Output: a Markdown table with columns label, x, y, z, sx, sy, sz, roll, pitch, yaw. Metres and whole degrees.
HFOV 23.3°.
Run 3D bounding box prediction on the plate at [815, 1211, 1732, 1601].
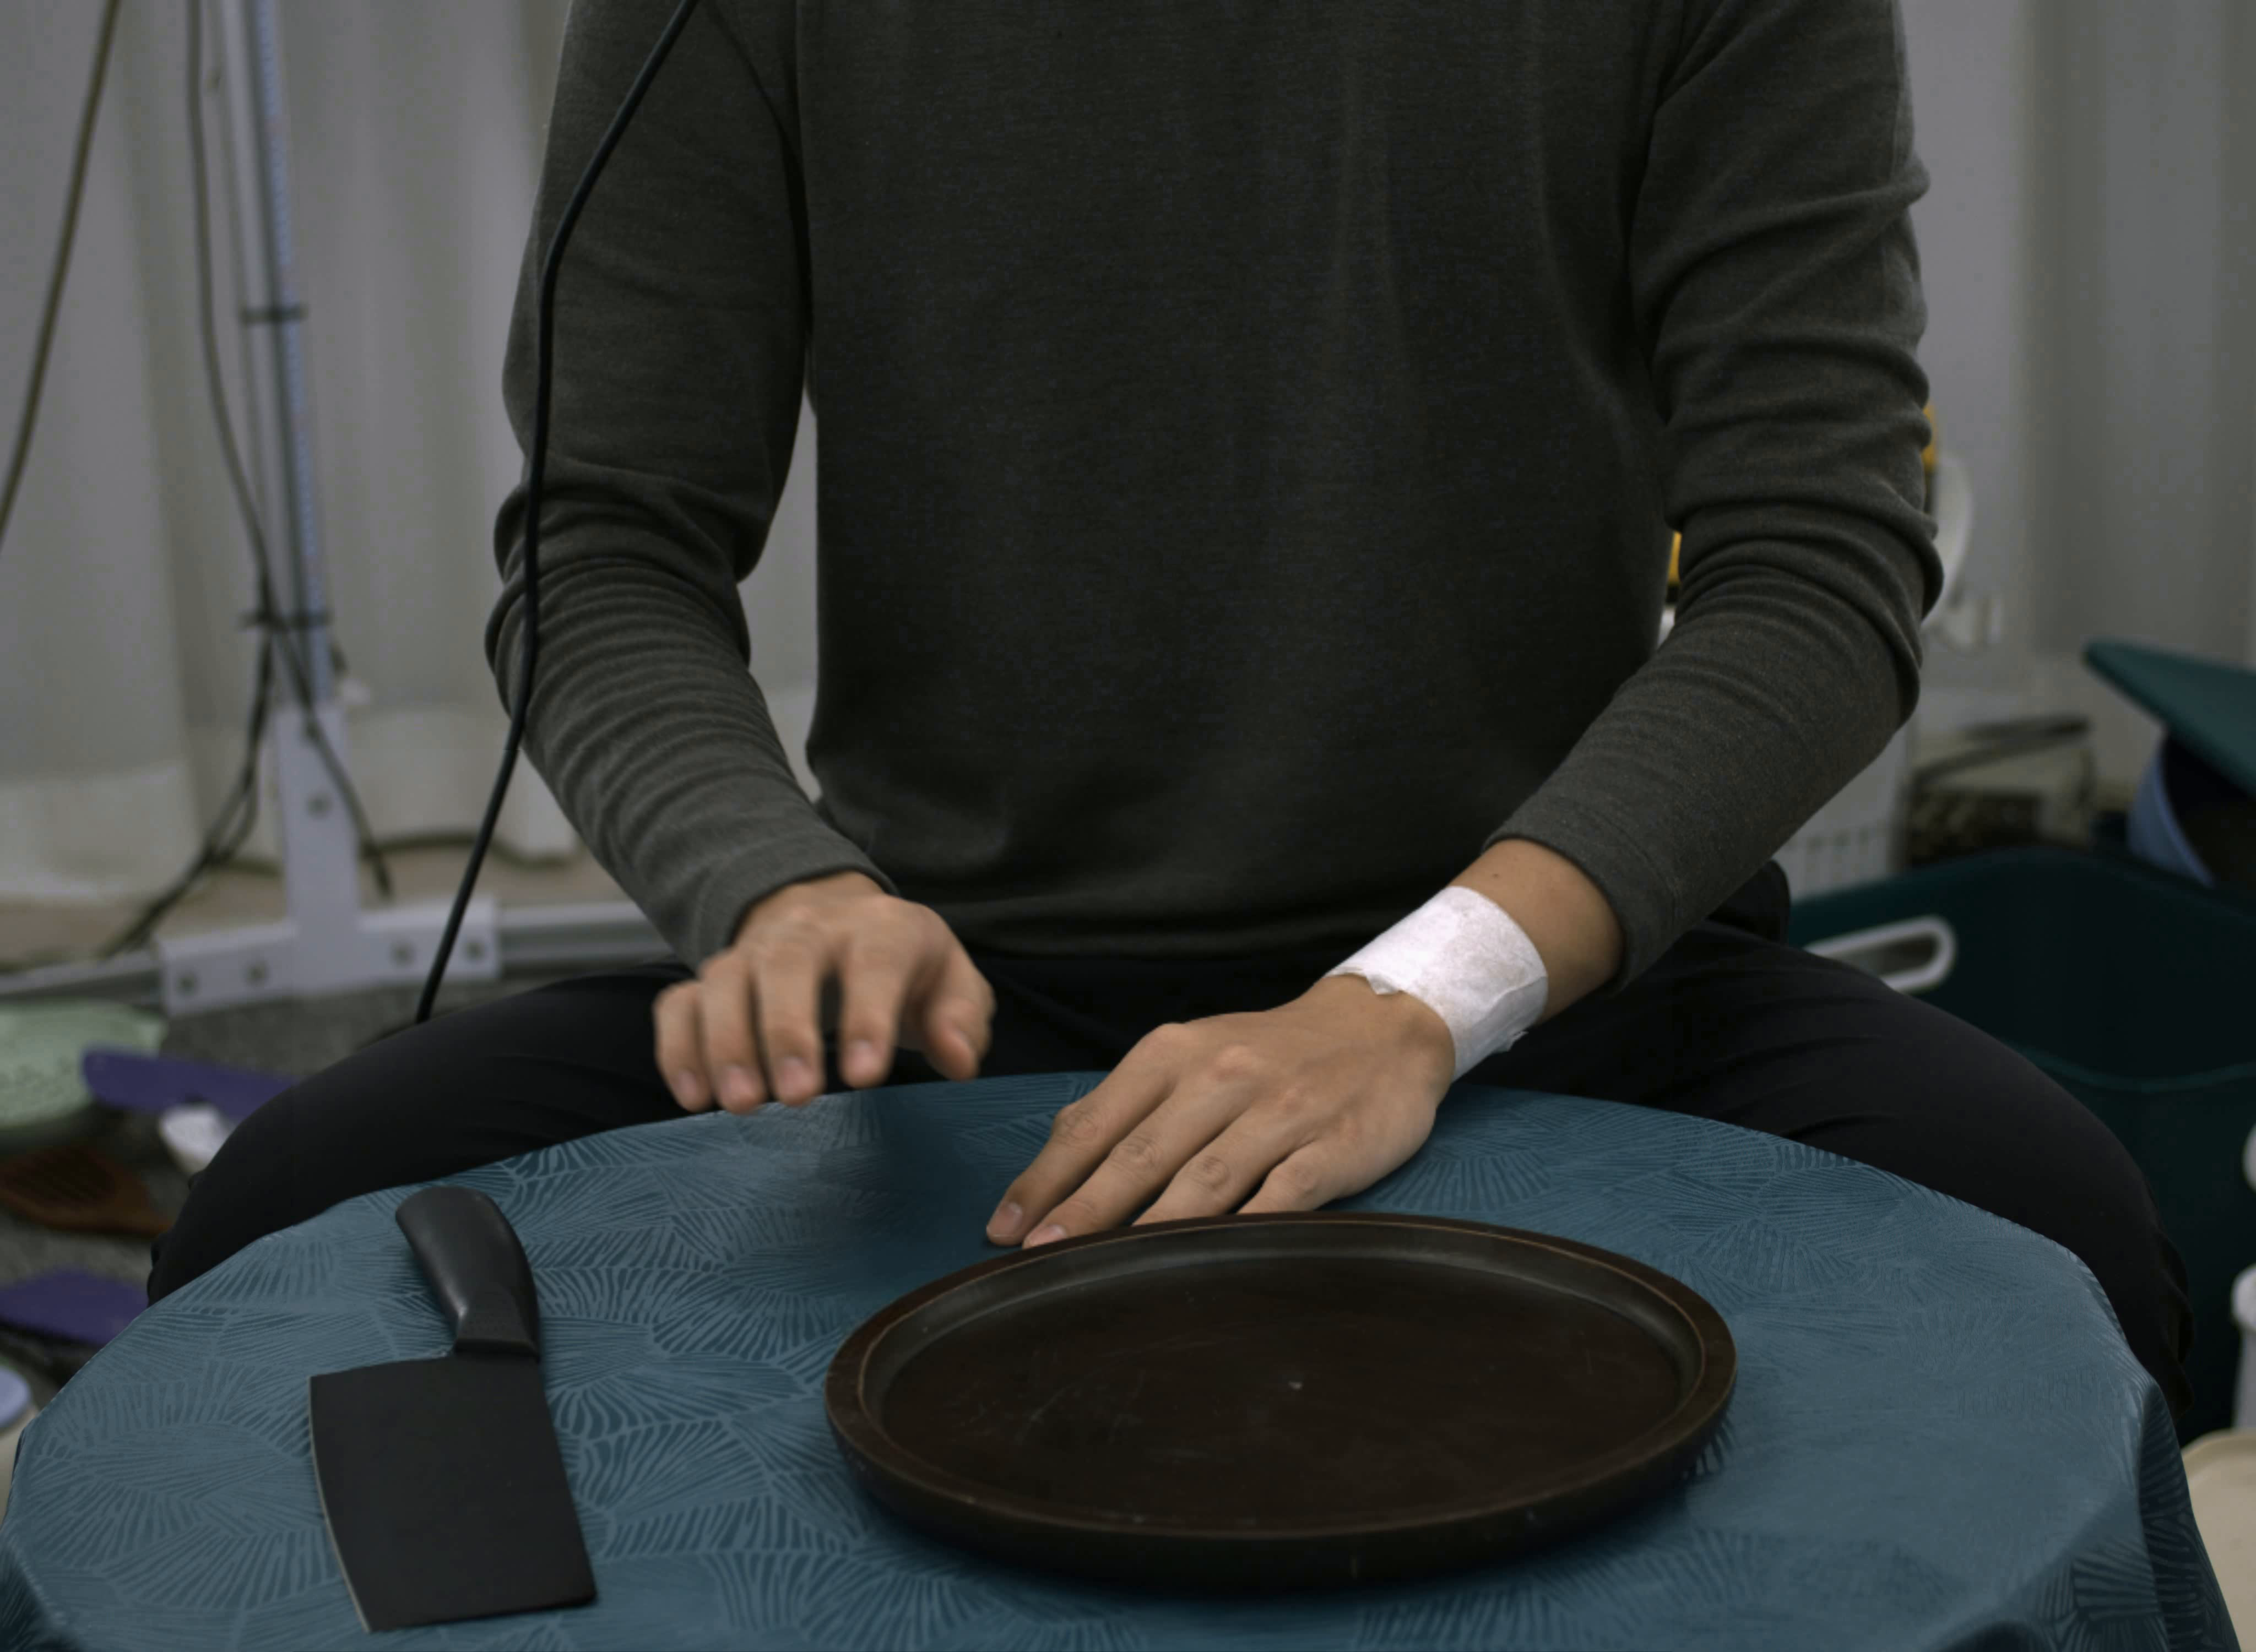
| label | x | y | z | sx | sy | sz | roll | pitch | yaw |
| --- | --- | --- | --- | --- | --- | --- | --- | --- | --- |
| plate | 0.041 | 0.157 | 1.507 | 0.254 | 0.029 | 0.256 | -4 | 15 | 1 |

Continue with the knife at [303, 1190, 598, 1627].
| label | x | y | z | sx | sy | sz | roll | pitch | yaw |
| --- | --- | --- | --- | --- | --- | --- | --- | --- | --- |
| knife | -0.194 | 0.162 | 1.549 | 0.080 | 0.021 | 0.305 | -6 | 17 | -6 |
